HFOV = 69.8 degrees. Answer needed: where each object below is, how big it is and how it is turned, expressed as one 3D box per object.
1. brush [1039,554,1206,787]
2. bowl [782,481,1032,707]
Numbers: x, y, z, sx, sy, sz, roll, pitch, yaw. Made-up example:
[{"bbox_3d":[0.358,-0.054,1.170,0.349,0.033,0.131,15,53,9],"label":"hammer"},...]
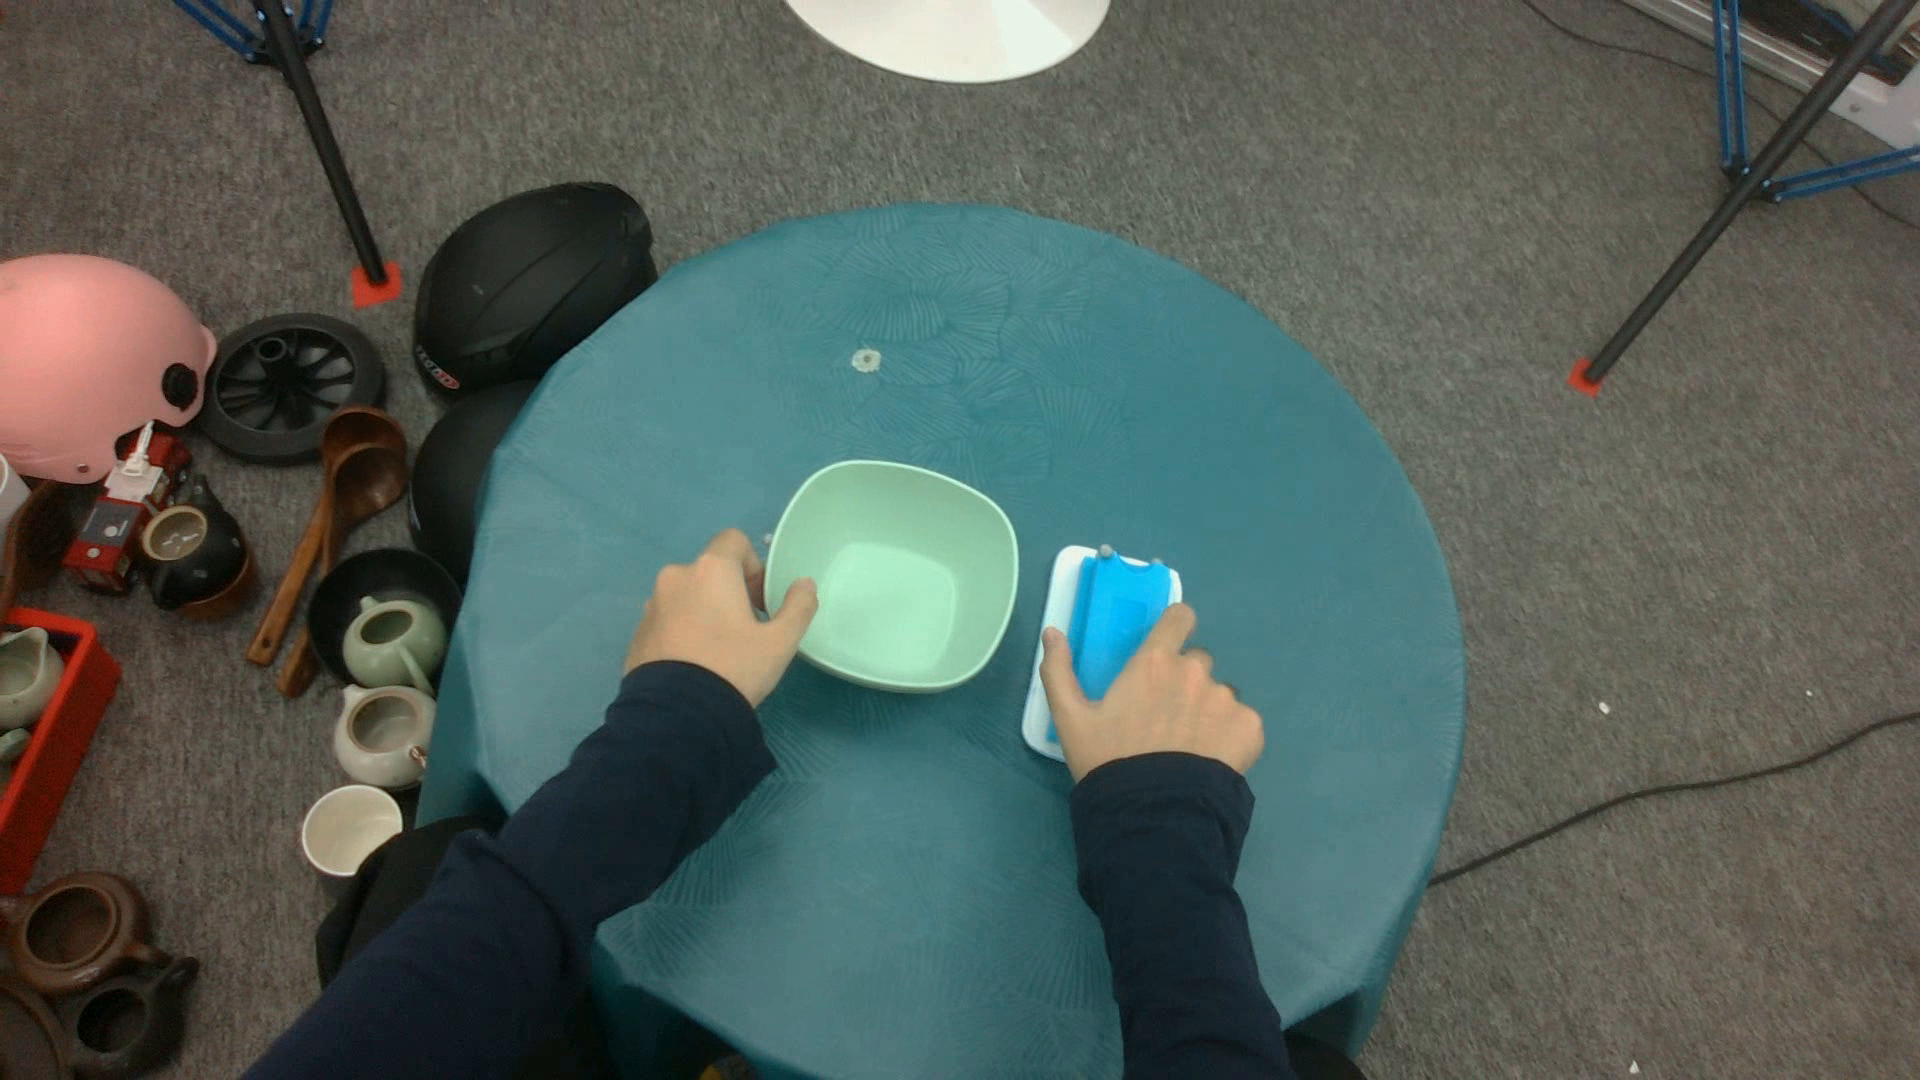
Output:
[{"bbox_3d":[0.097,0.067,0.795,0.084,0.055,0.144,12,57,5],"label":"brush"},{"bbox_3d":[-0.031,0.040,0.801,0.151,0.058,0.152,3,60,-4],"label":"bowl"}]
